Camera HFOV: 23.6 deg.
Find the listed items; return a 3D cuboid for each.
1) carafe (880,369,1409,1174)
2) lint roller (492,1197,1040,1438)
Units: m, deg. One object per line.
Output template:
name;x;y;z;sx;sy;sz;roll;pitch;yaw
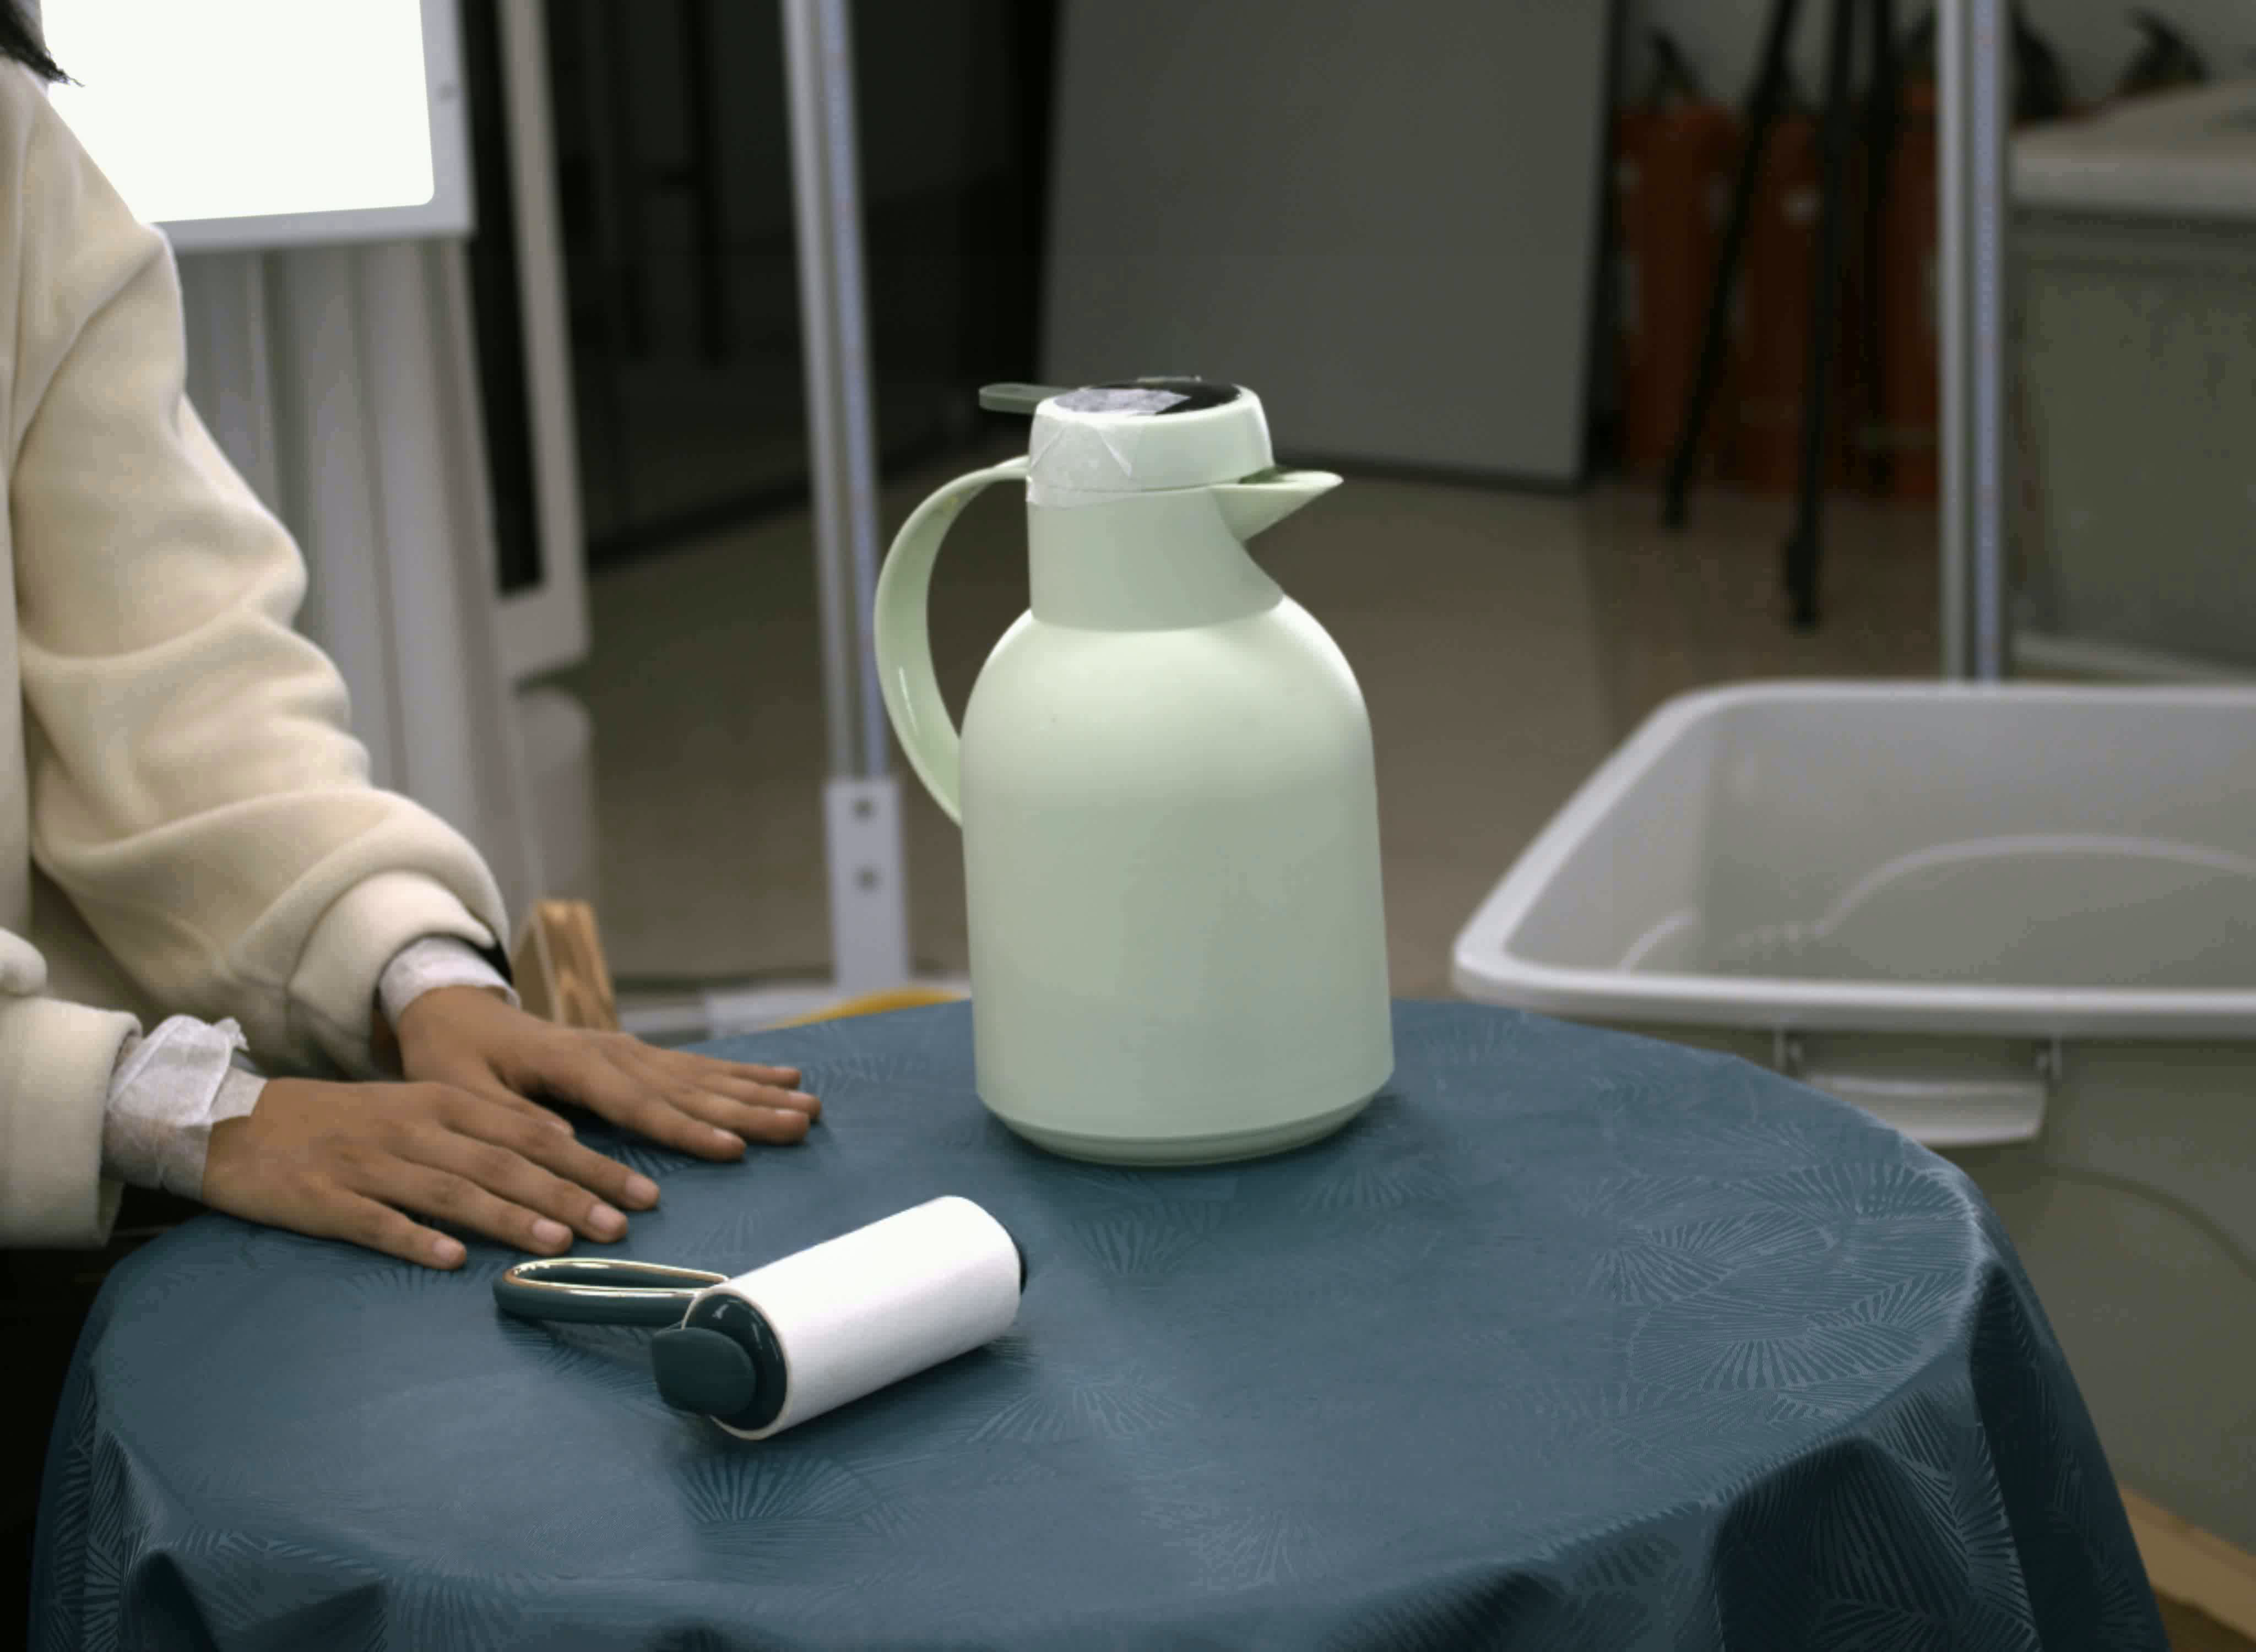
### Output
carafe;0.003;-0.023;1.829;0.188;0.259;0.142;1;15;36
lint roller;-0.131;0.137;1.642;0.181;0.049;0.131;9;18;42
